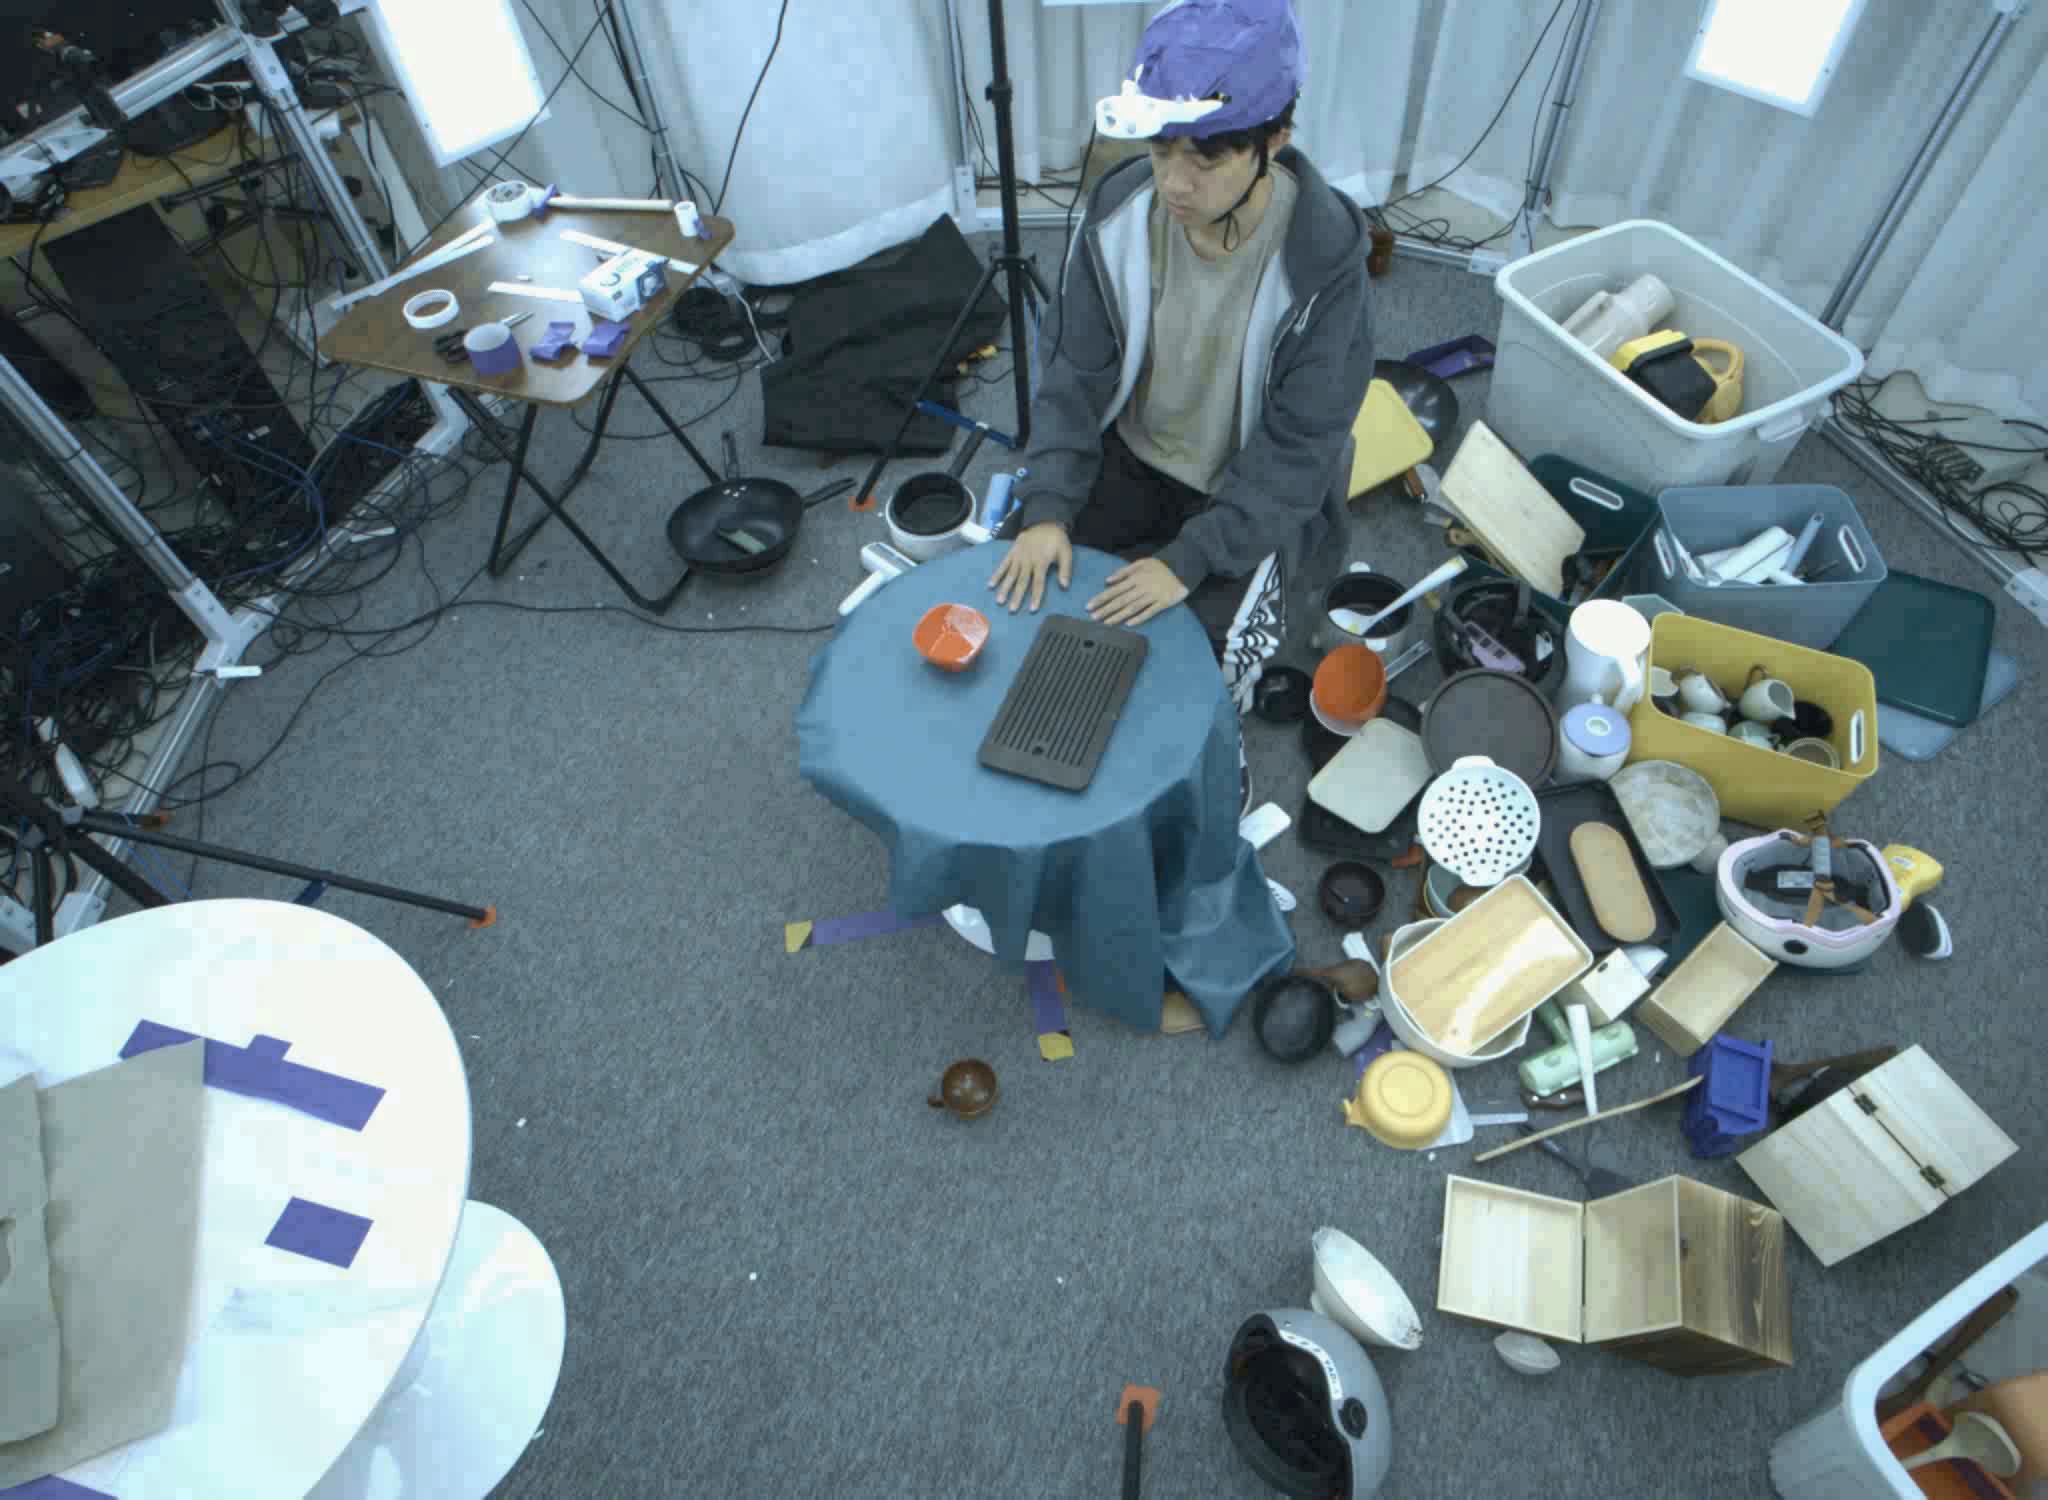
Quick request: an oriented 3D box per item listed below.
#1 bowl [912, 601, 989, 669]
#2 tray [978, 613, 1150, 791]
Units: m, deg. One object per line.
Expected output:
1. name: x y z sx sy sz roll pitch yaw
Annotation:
1. bowl: -0.109 -0.168 1.877 0.118 0.052 0.118 -2 58 5
2. tray: 0.063 -0.076 1.831 0.168 0.019 0.305 17 56 13
